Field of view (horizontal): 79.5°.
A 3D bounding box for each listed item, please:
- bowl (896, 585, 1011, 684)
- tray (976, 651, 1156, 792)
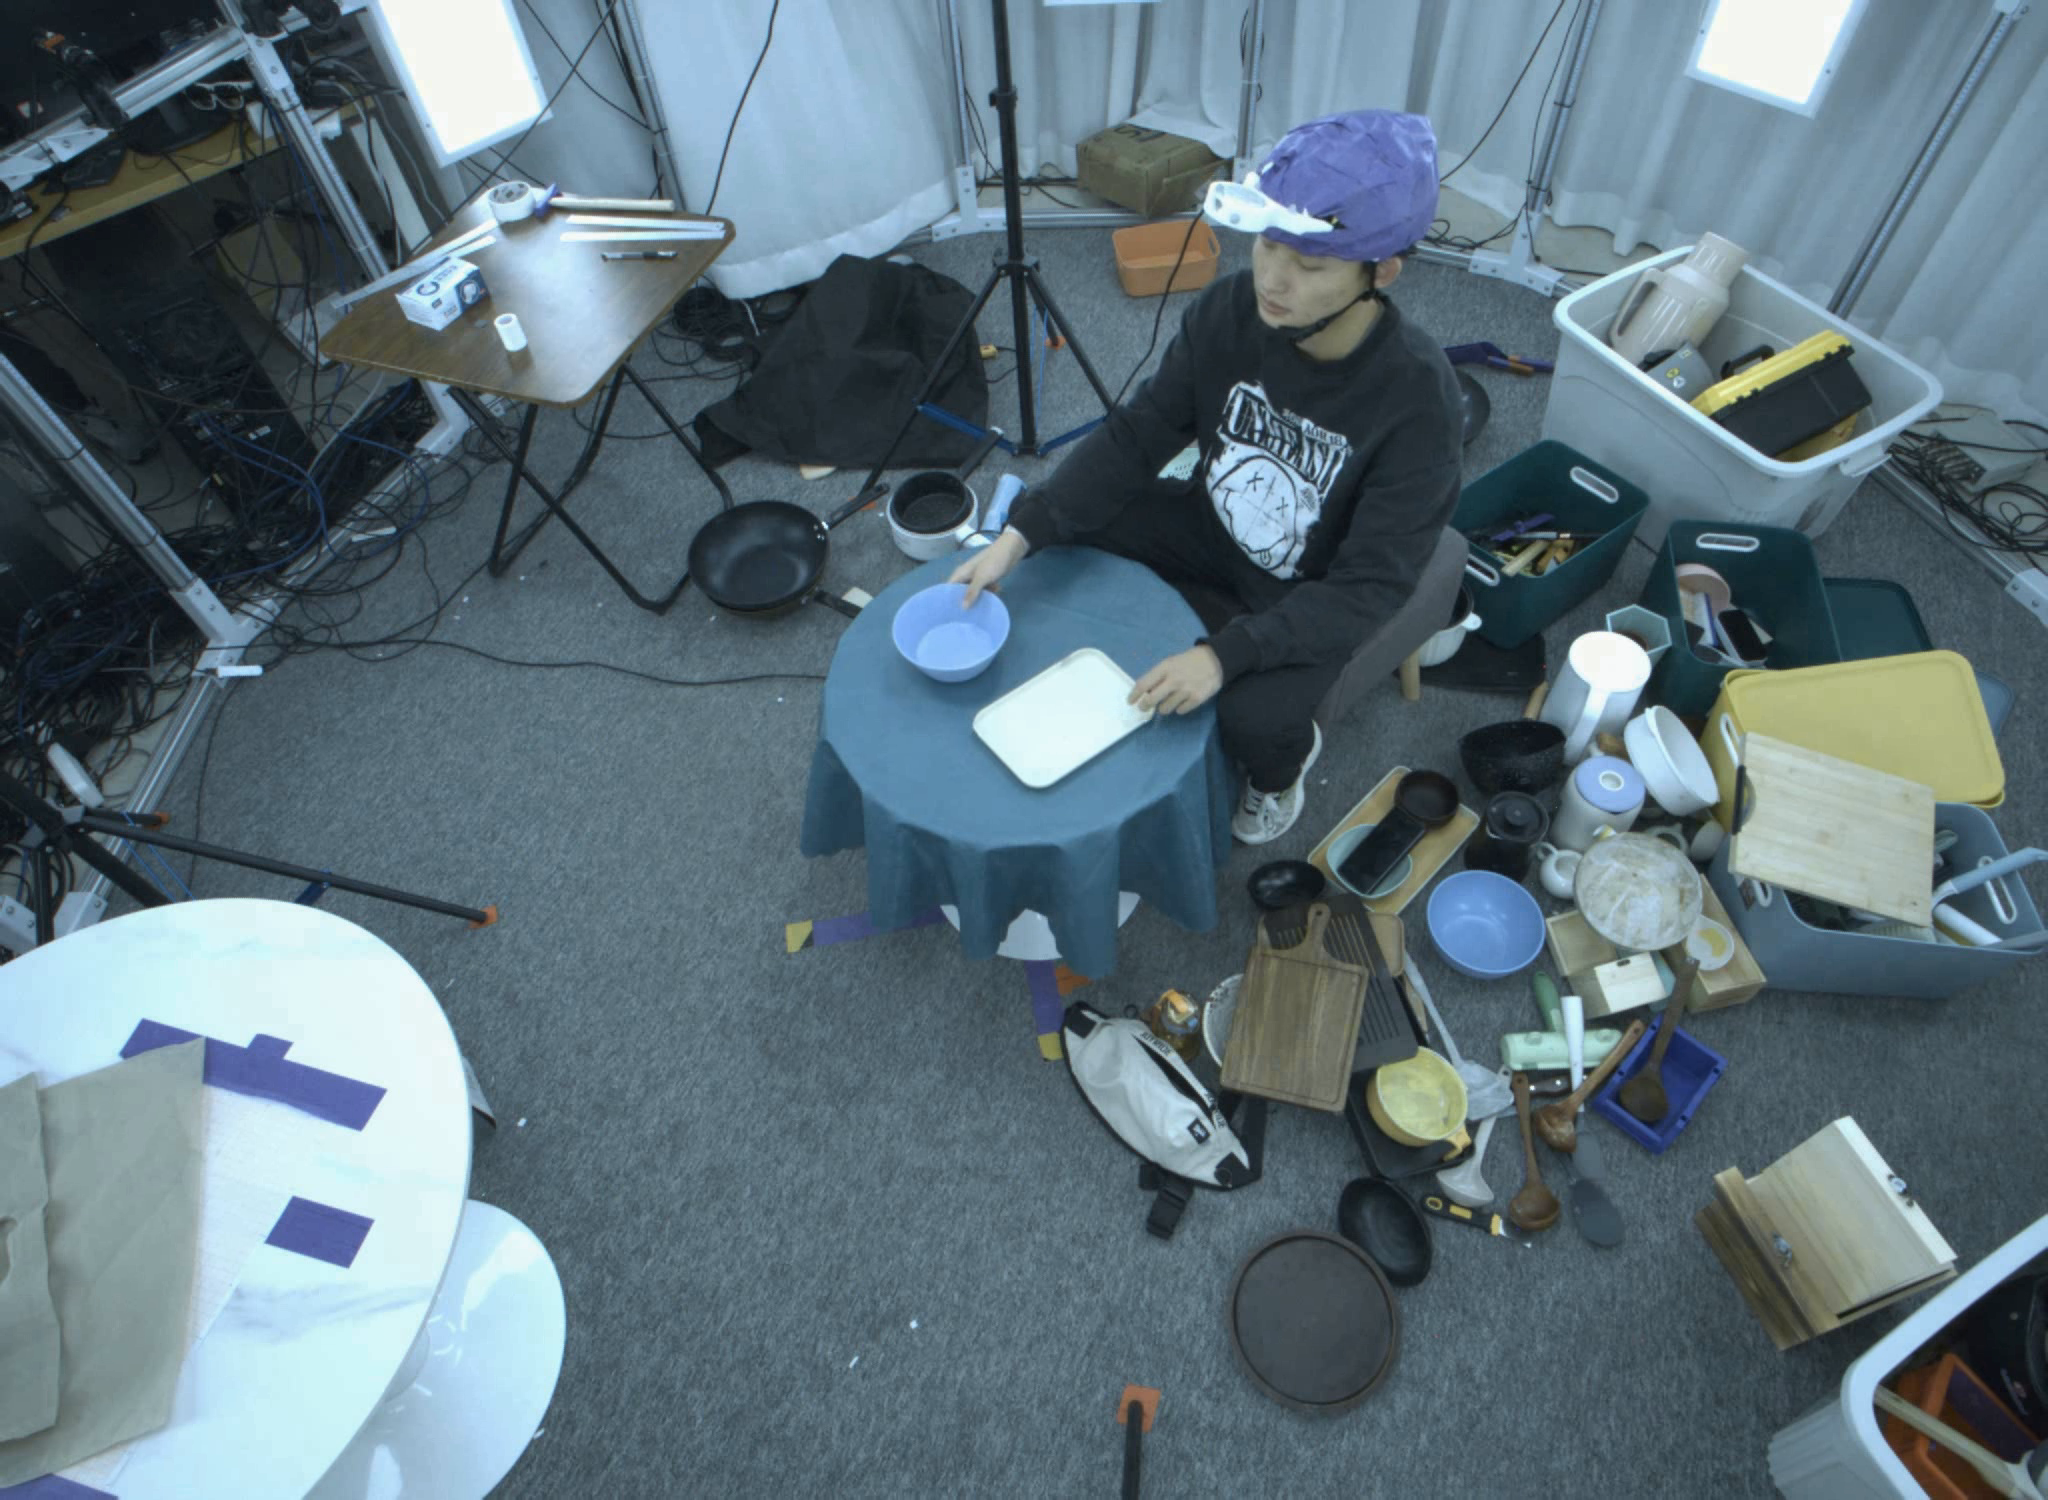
[{"bbox_3d":[-0.105,-0.166,1.874,0.176,0.071,0.174,-1,56,2],"label":"bowl"},{"bbox_3d":[0.063,-0.043,1.815,0.241,0.017,0.168,-33,61,-20],"label":"tray"}]
